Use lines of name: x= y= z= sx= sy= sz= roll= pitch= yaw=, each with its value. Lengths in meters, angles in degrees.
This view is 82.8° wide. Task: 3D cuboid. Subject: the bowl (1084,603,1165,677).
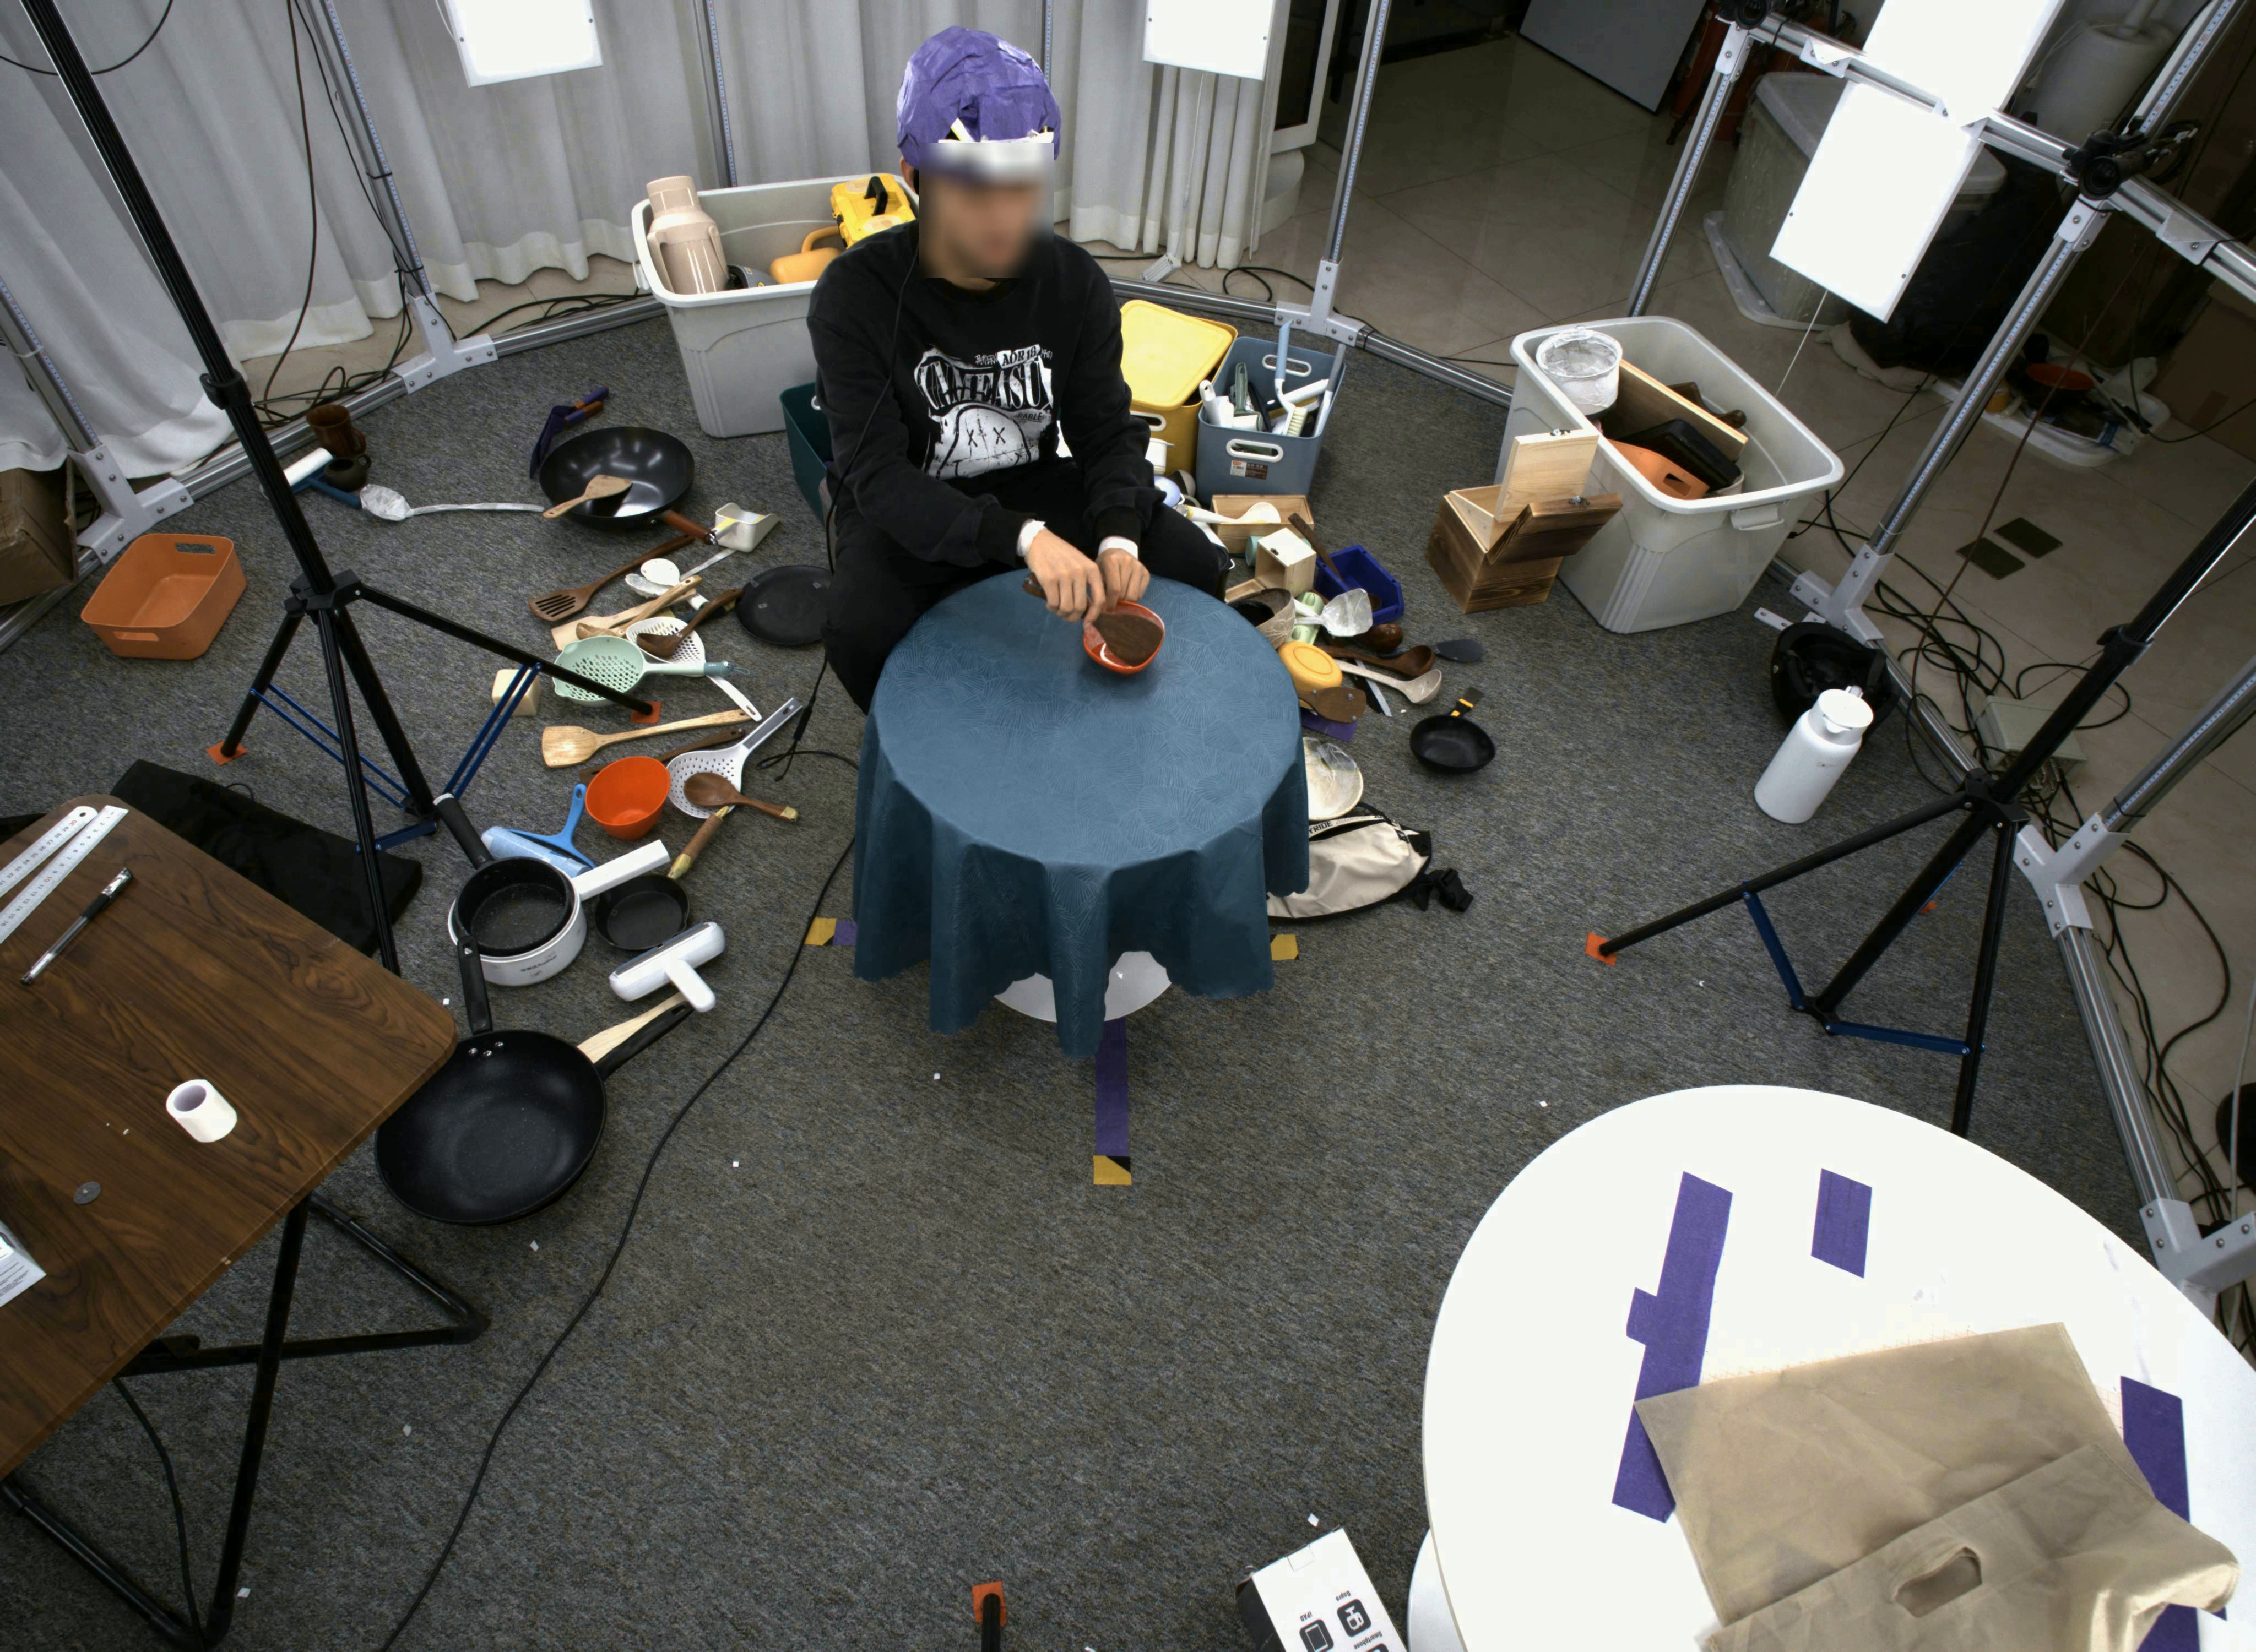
bowl: x=-0.005 y=-0.263 z=1.873 sx=0.119 sy=0.050 sz=0.121 roll=0 pitch=64 yaw=1

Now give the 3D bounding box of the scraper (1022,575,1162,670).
scraper: x=-0.053 y=-0.294 z=1.815 sx=0.209 sy=0.075 sz=0.011 roll=28 pitch=25 yaw=-16
